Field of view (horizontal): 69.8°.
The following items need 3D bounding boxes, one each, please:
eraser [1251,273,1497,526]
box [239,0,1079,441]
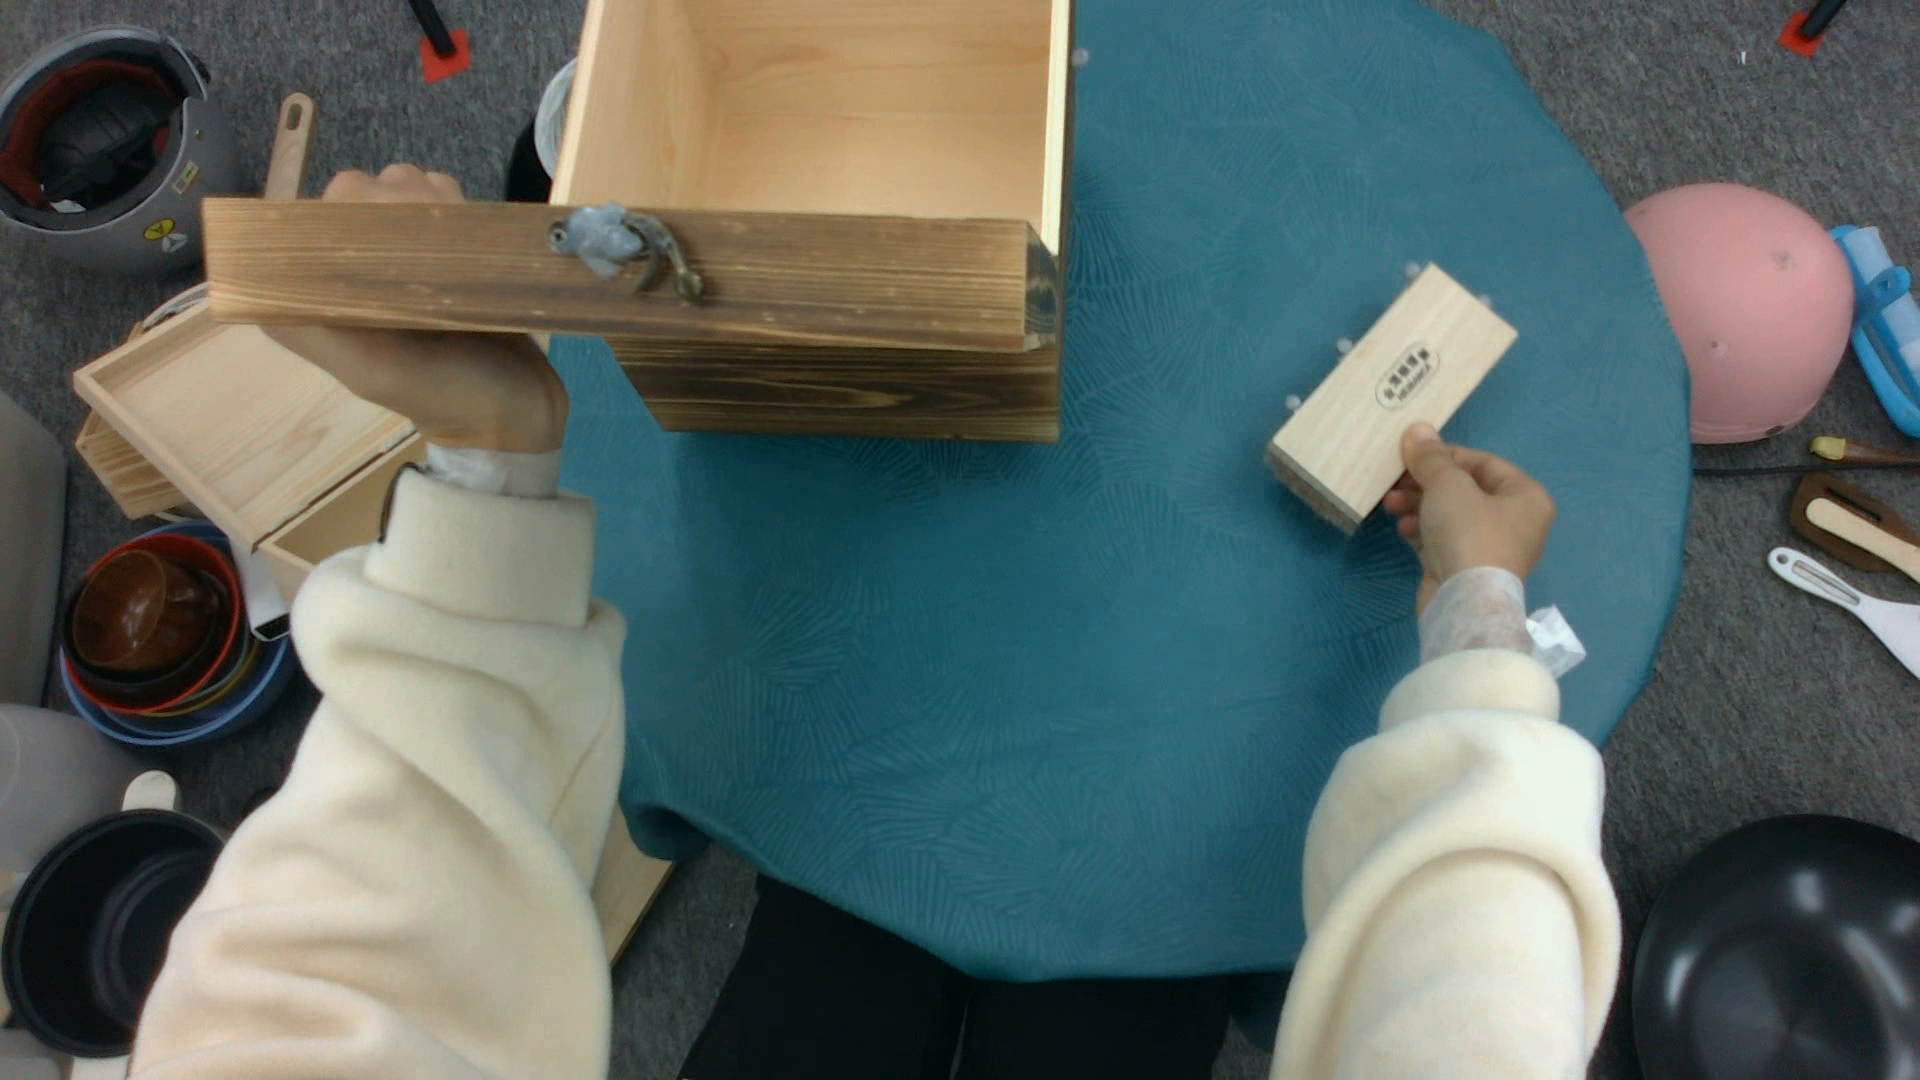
[{"bbox_3d":[0.207,-0.072,0.696,0.057,0.029,0.140,42,69,9],"label":"eraser"},{"bbox_3d":[-0.064,-0.166,0.538,0.209,0.374,0.323,2,68,3],"label":"box"}]
